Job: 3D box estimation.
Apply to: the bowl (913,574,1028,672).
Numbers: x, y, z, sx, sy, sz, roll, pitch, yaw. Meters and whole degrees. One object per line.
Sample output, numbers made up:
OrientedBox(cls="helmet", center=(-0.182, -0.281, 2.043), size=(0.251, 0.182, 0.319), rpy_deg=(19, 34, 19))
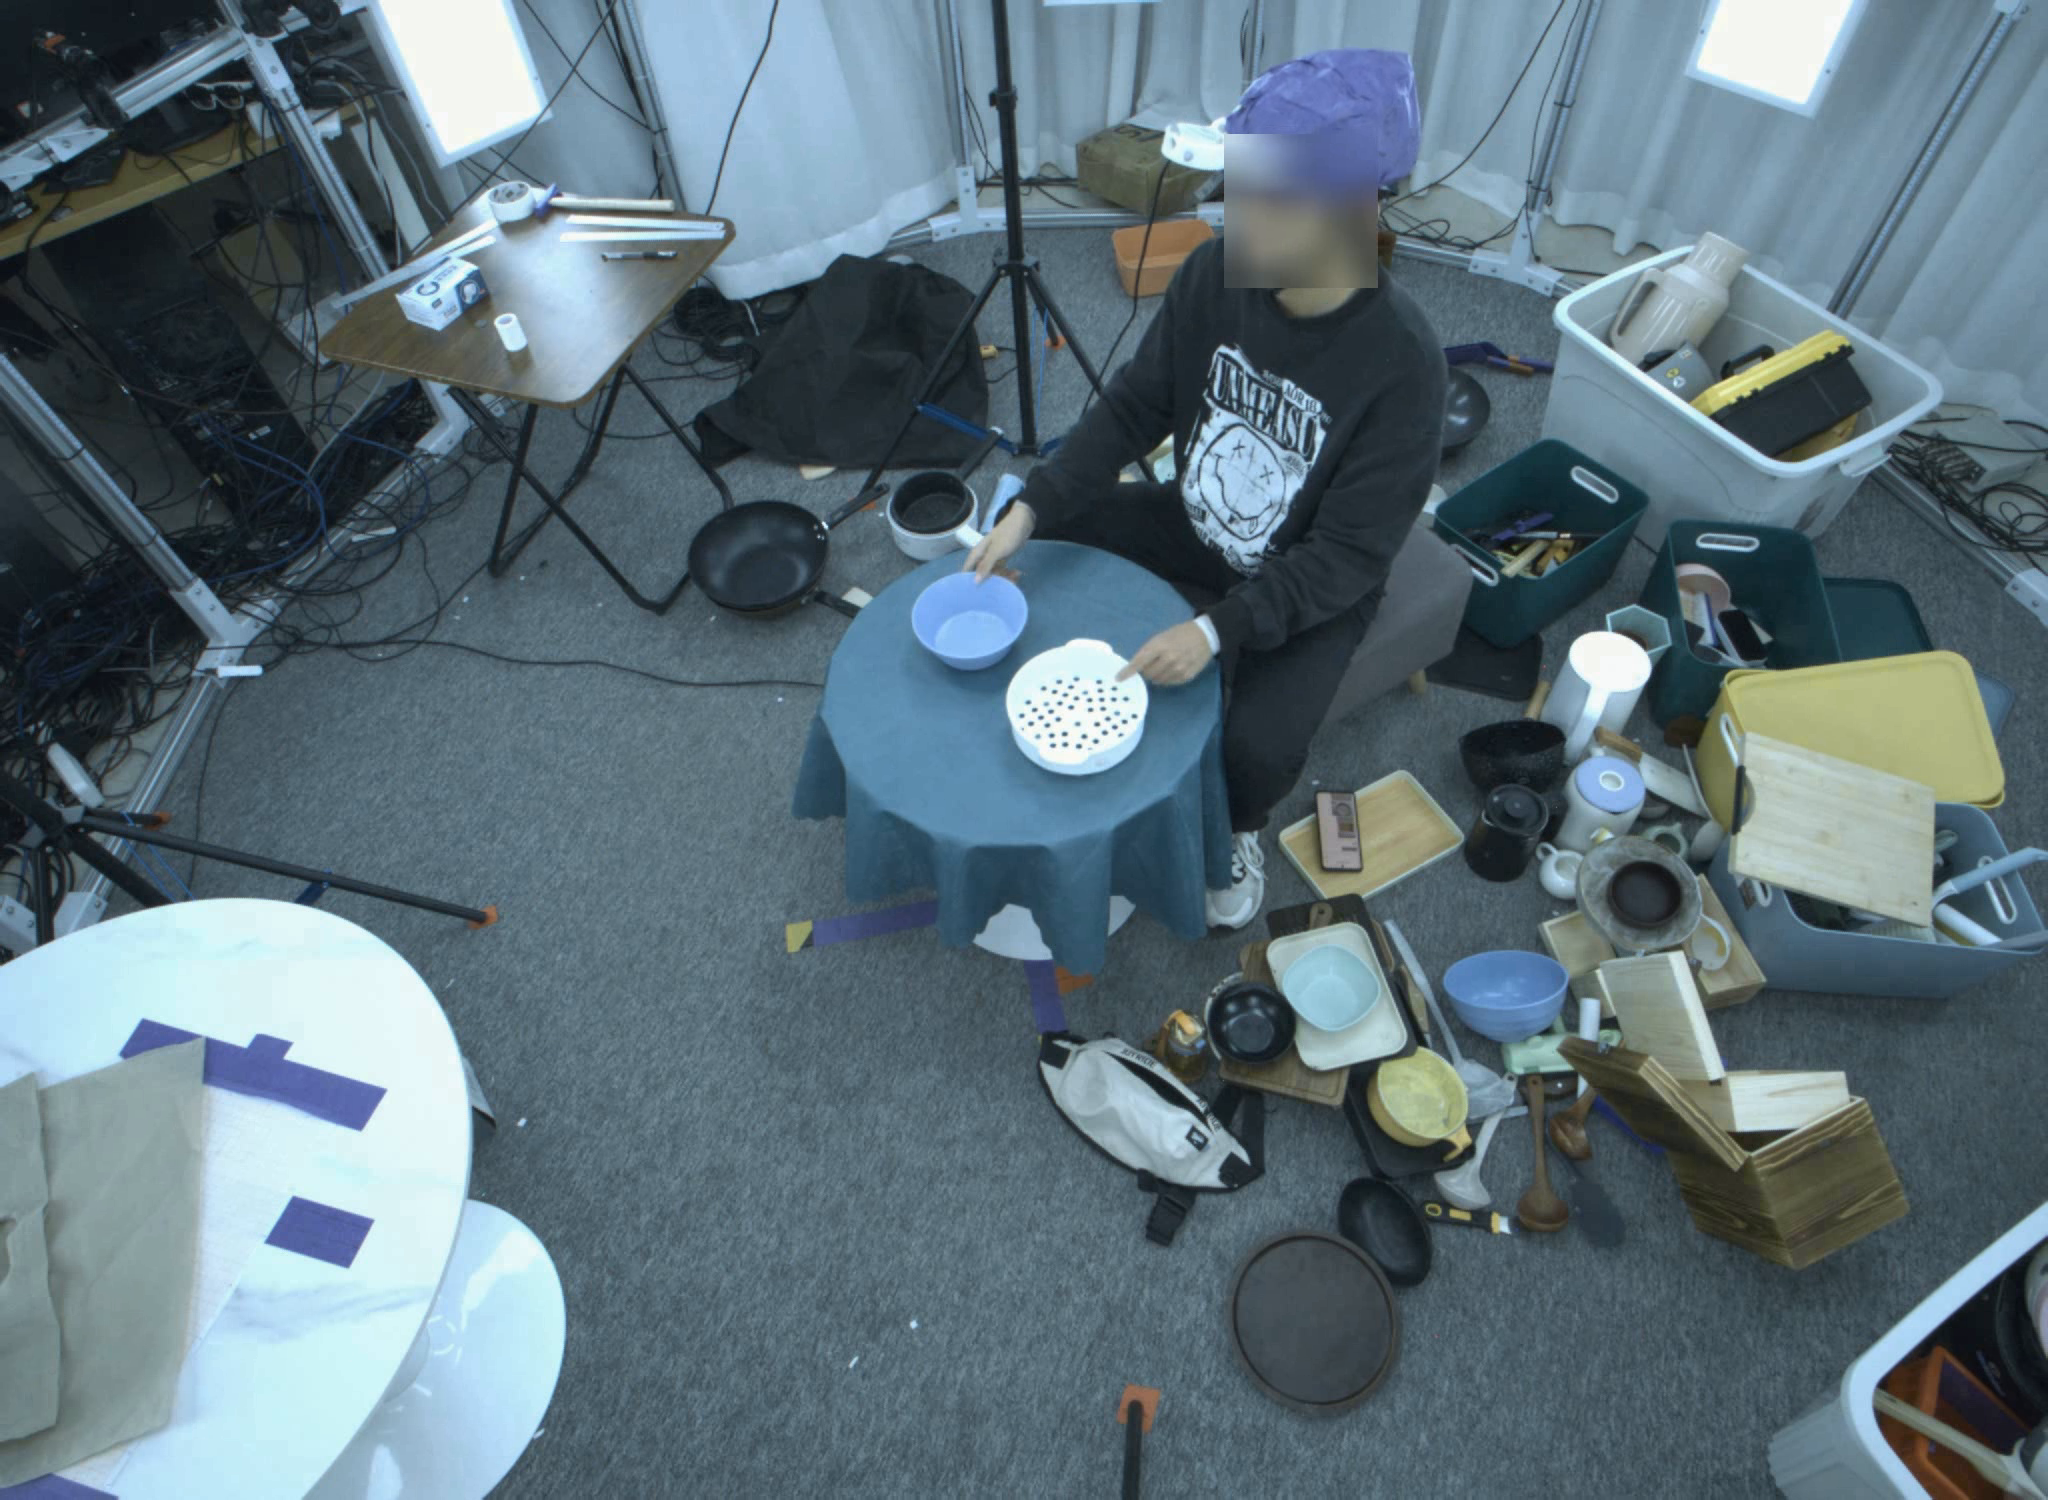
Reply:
OrientedBox(cls="bowl", center=(-0.081, -0.186, 1.887), size=(0.176, 0.071, 0.174), rpy_deg=(0, 56, 1))

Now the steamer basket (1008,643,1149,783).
OrientedBox(cls="steamer basket", center=(0.080, -0.048, 1.787), size=(0.201, 0.070, 0.229), rpy_deg=(8, 58, 8))
